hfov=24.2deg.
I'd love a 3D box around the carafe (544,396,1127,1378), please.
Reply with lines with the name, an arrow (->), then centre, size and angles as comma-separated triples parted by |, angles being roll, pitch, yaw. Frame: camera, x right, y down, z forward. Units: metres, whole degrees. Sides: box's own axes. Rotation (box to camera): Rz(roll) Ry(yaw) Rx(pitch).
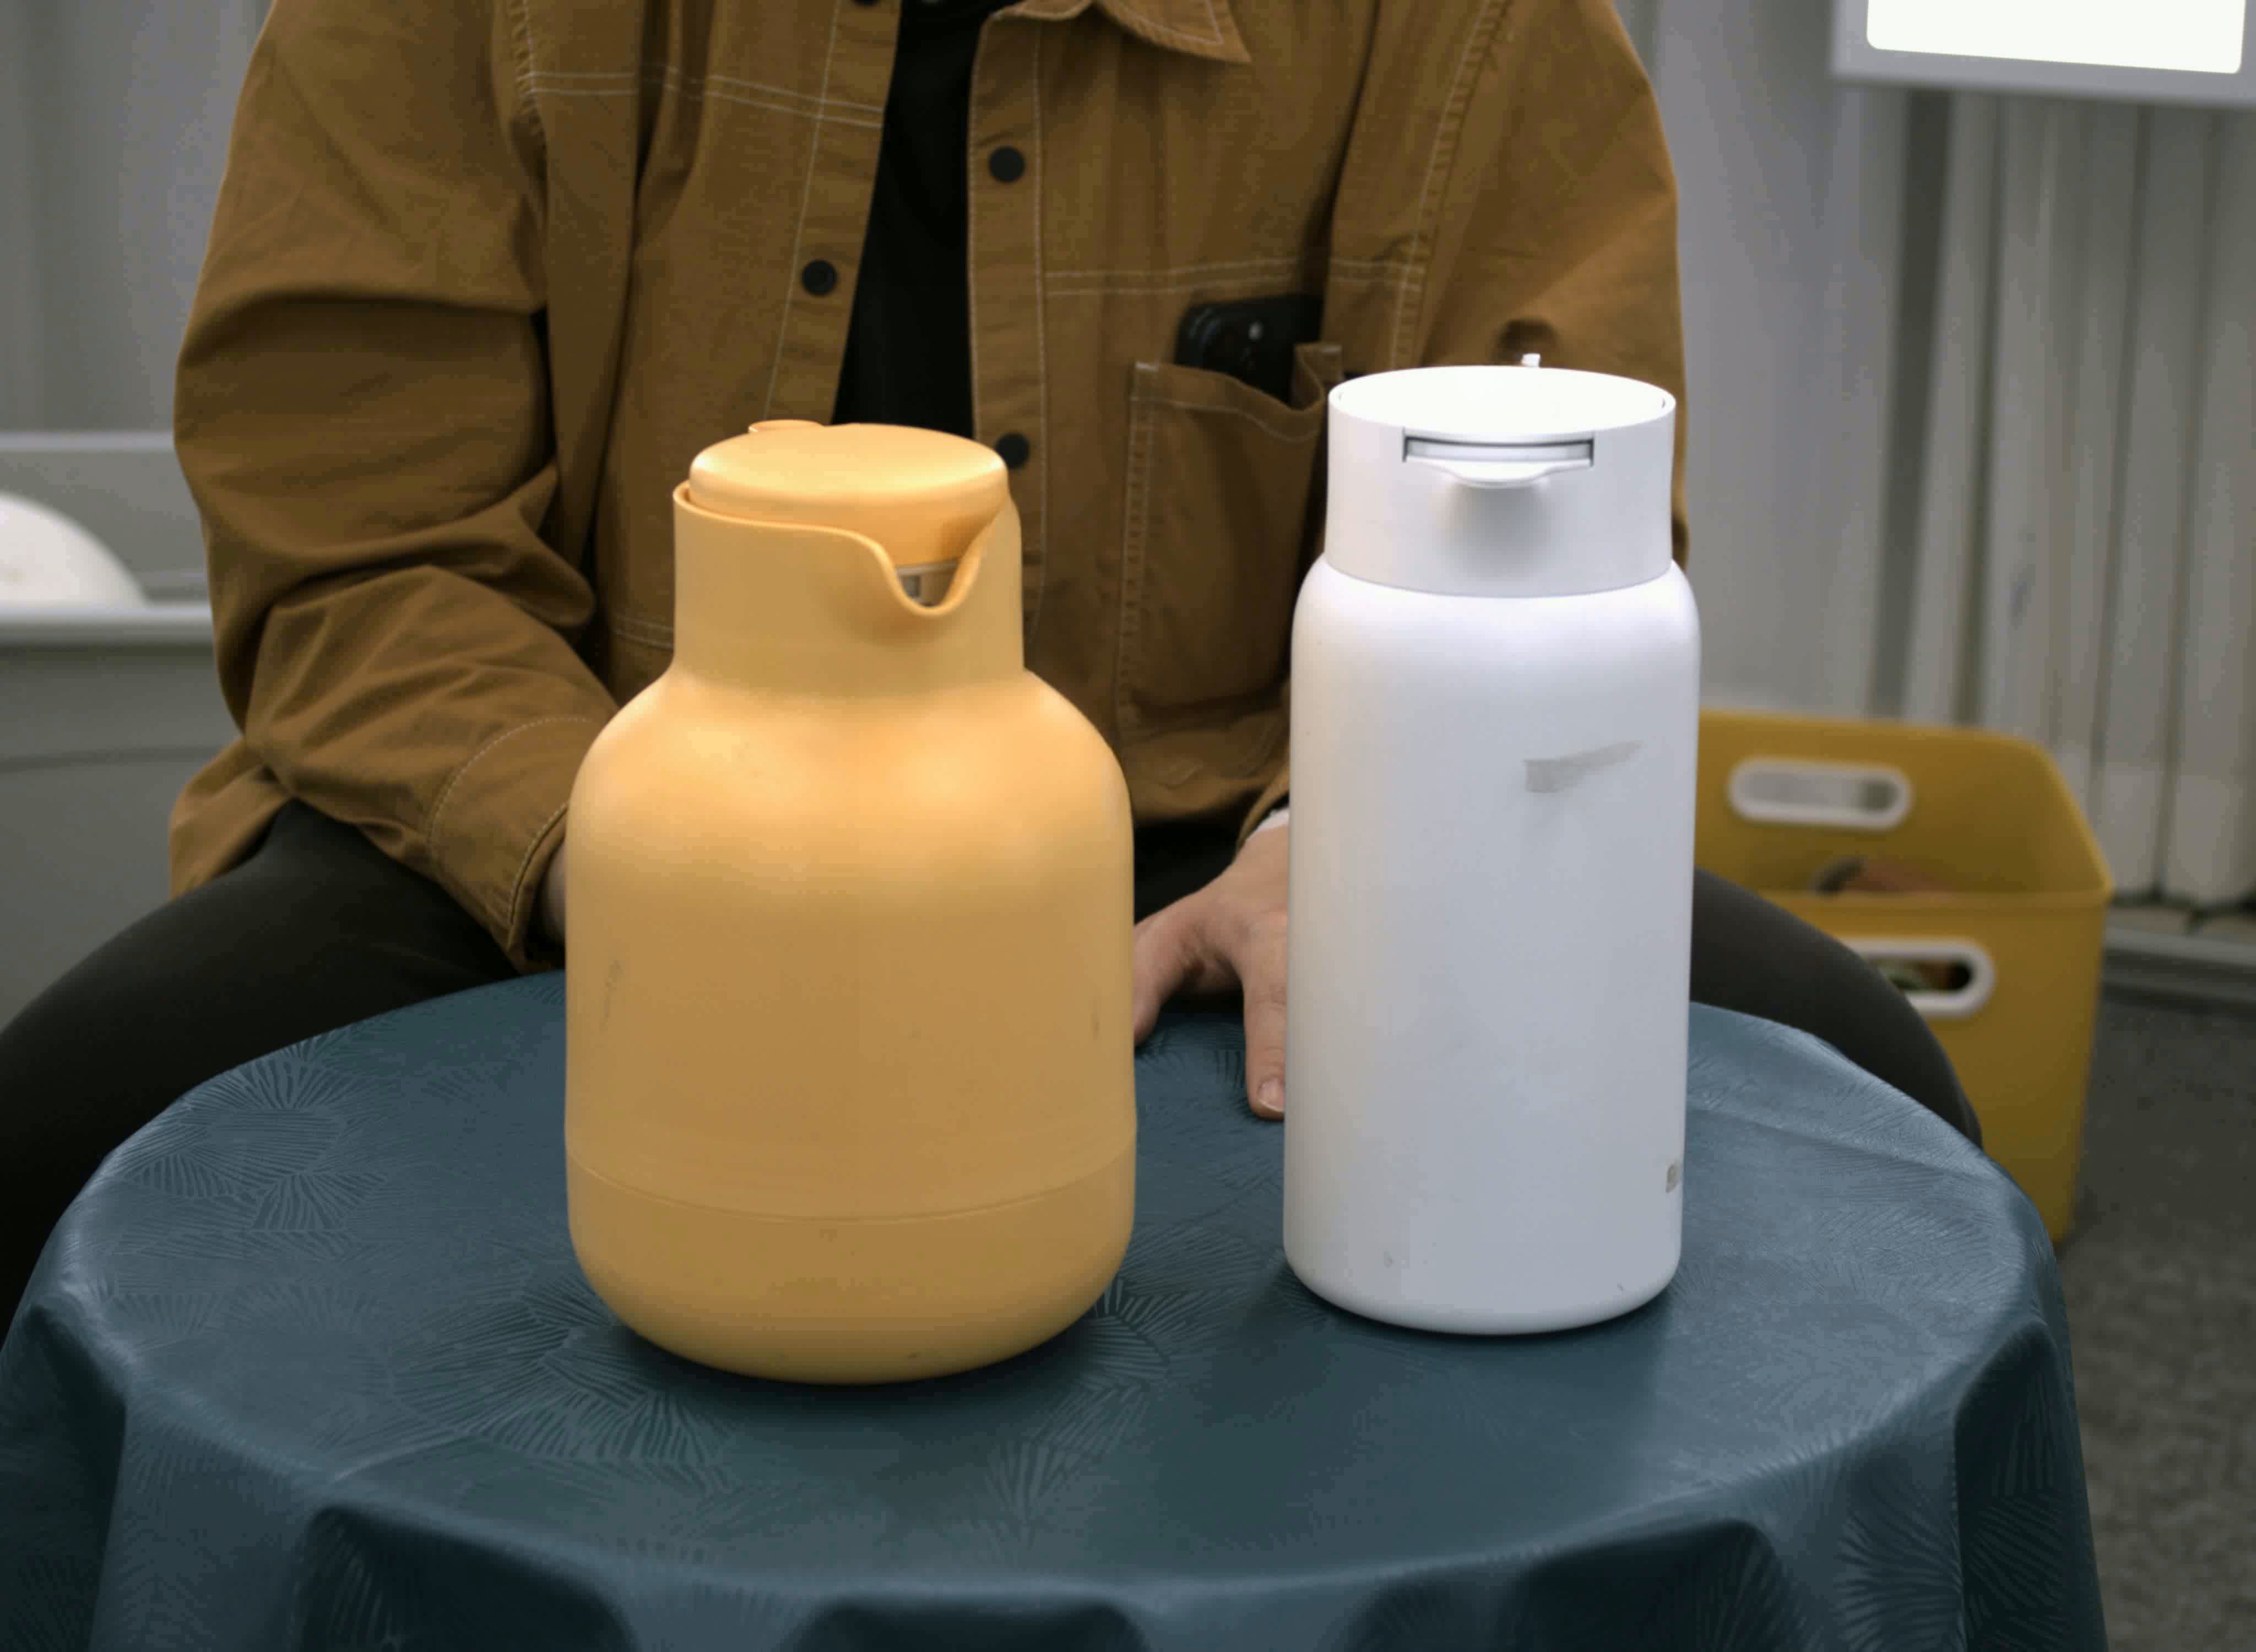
carafe -> -0.085, 0.009, 1.495 | 0.164, 0.262, 0.200 | -2, 17, -19

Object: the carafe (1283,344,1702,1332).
carafe -> 0.105, -0.001, 1.531 | 0.123, 0.271, 0.172 | -1, 16, 4
